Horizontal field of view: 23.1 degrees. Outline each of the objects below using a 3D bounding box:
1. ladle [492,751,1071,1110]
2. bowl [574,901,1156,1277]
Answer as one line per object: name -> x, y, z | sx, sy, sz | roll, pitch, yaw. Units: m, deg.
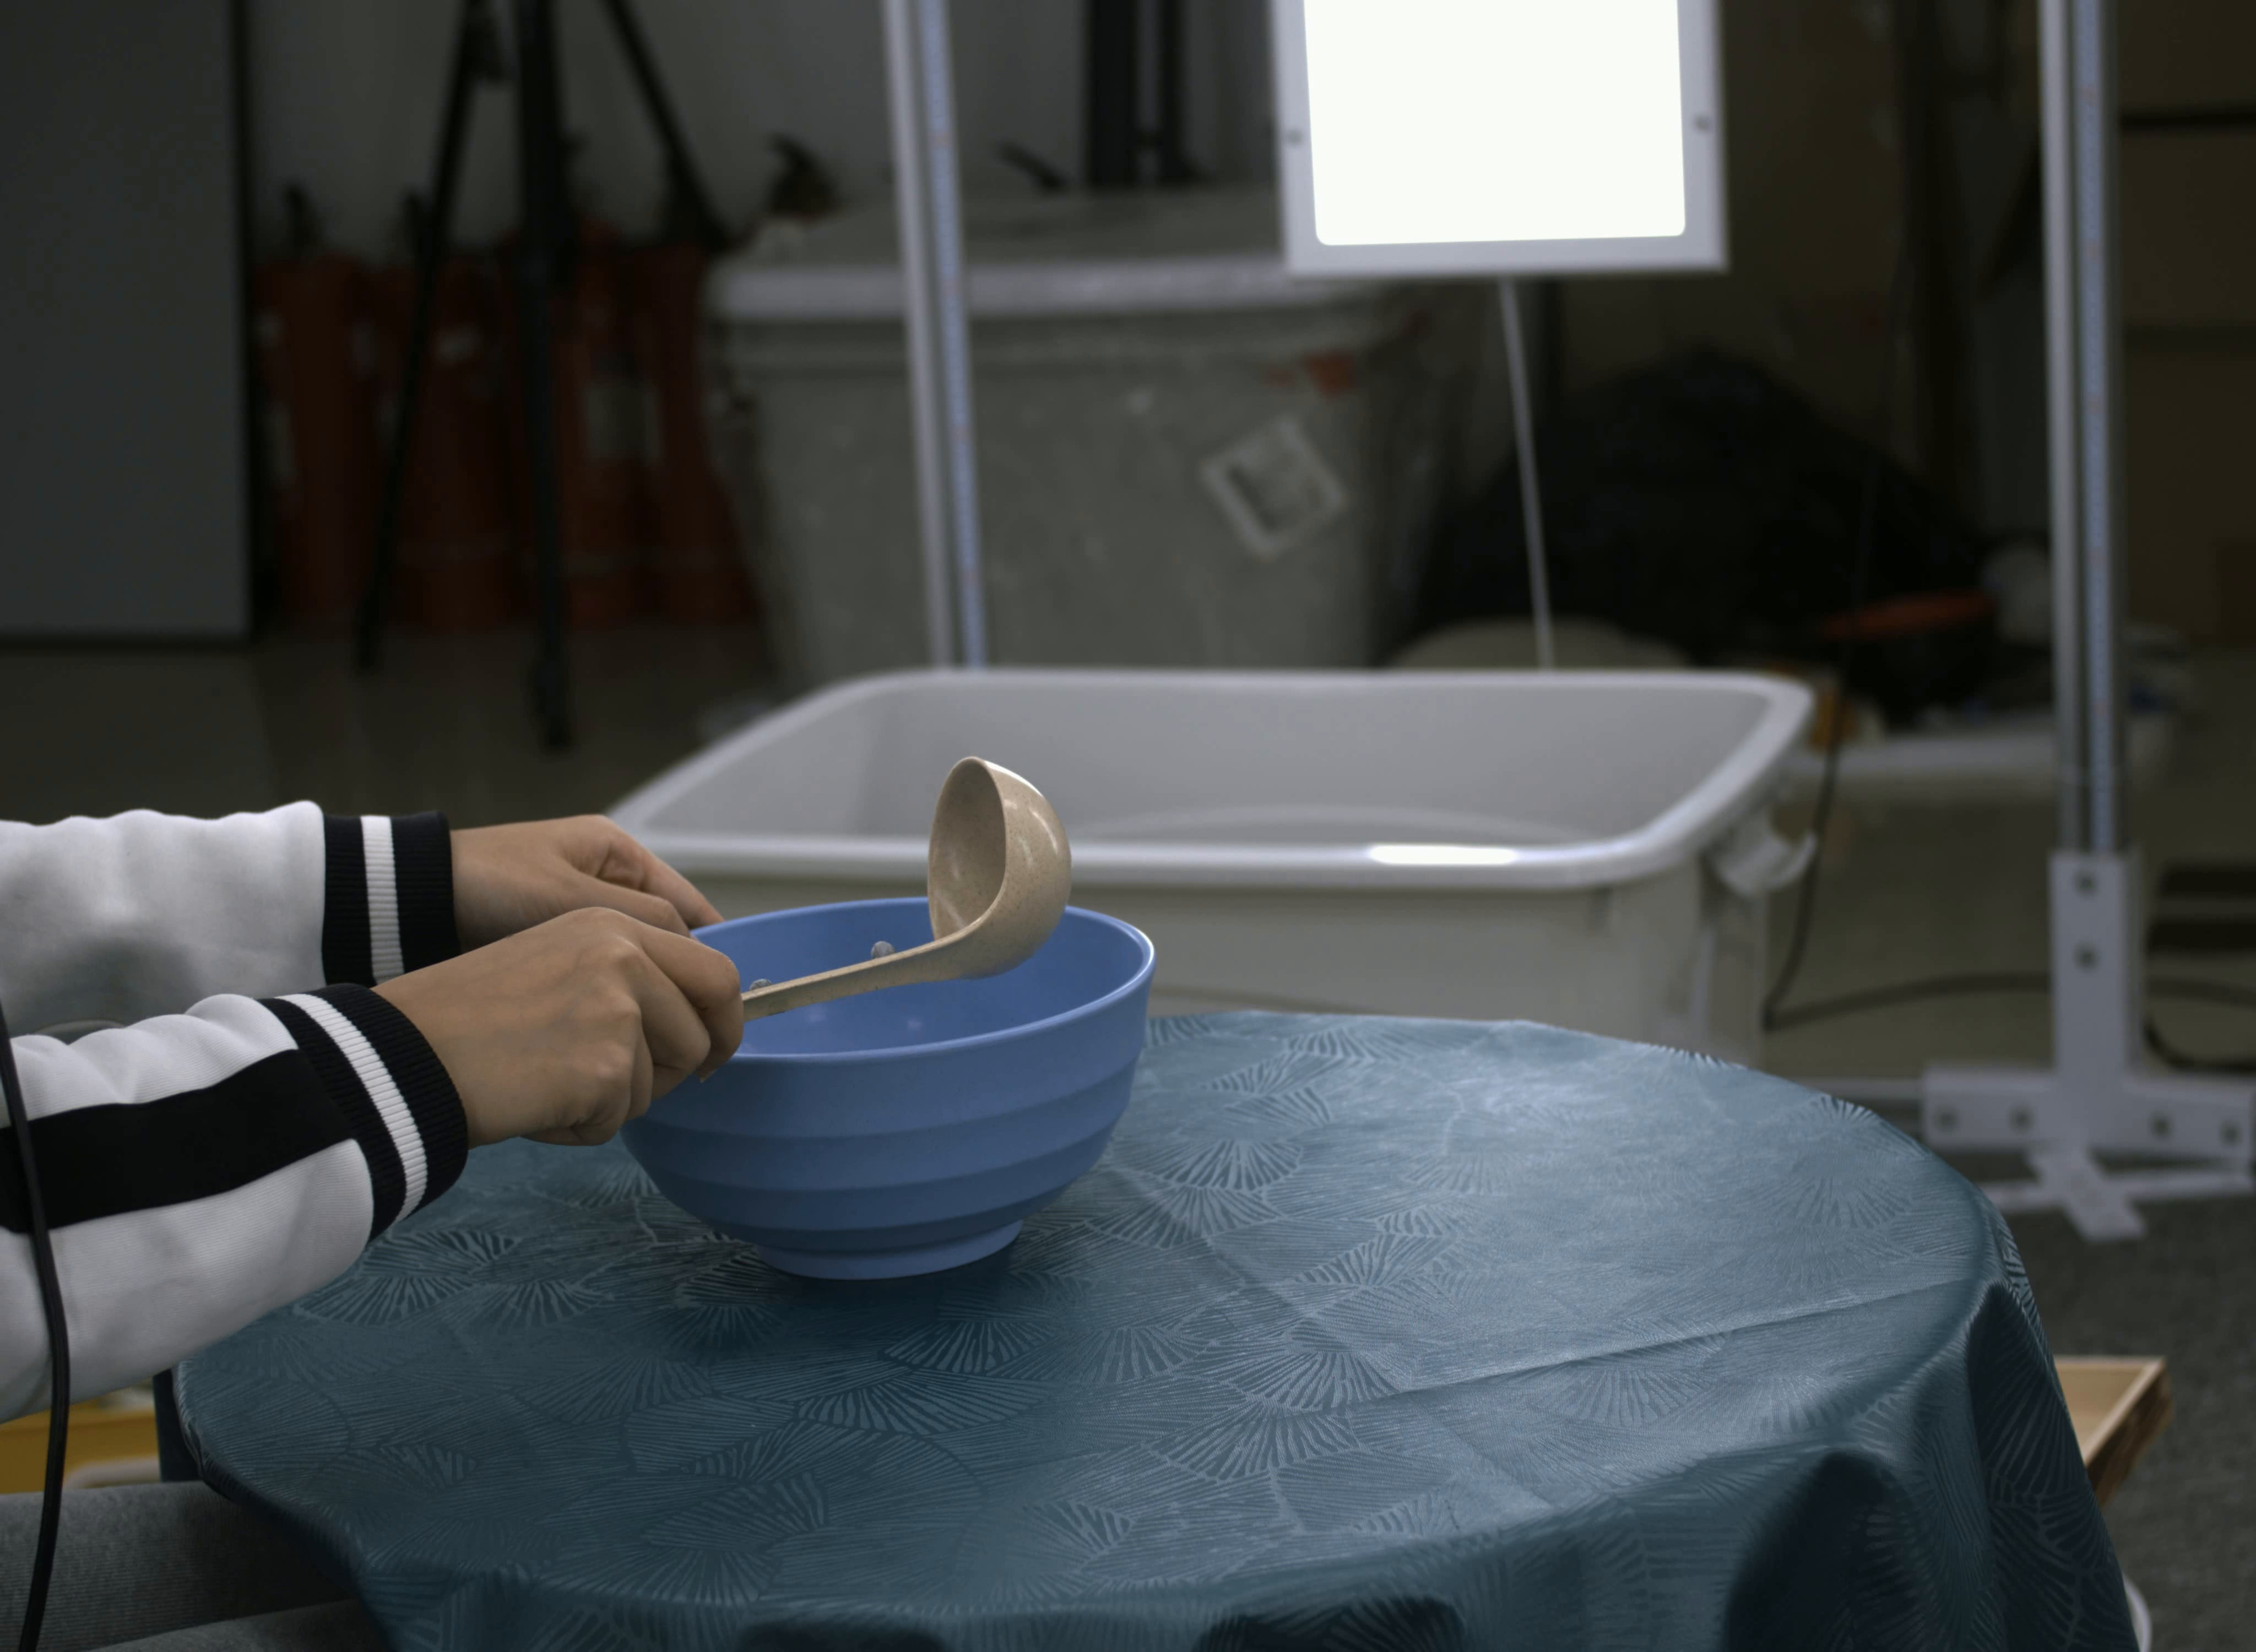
ladle -> -0.121, 0.032, 1.749 | 0.248, 0.073, 0.073 | -15, 59, -42
bowl -> -0.086, 0.094, 1.862 | 0.196, 0.096, 0.196 | -3, 12, -1
